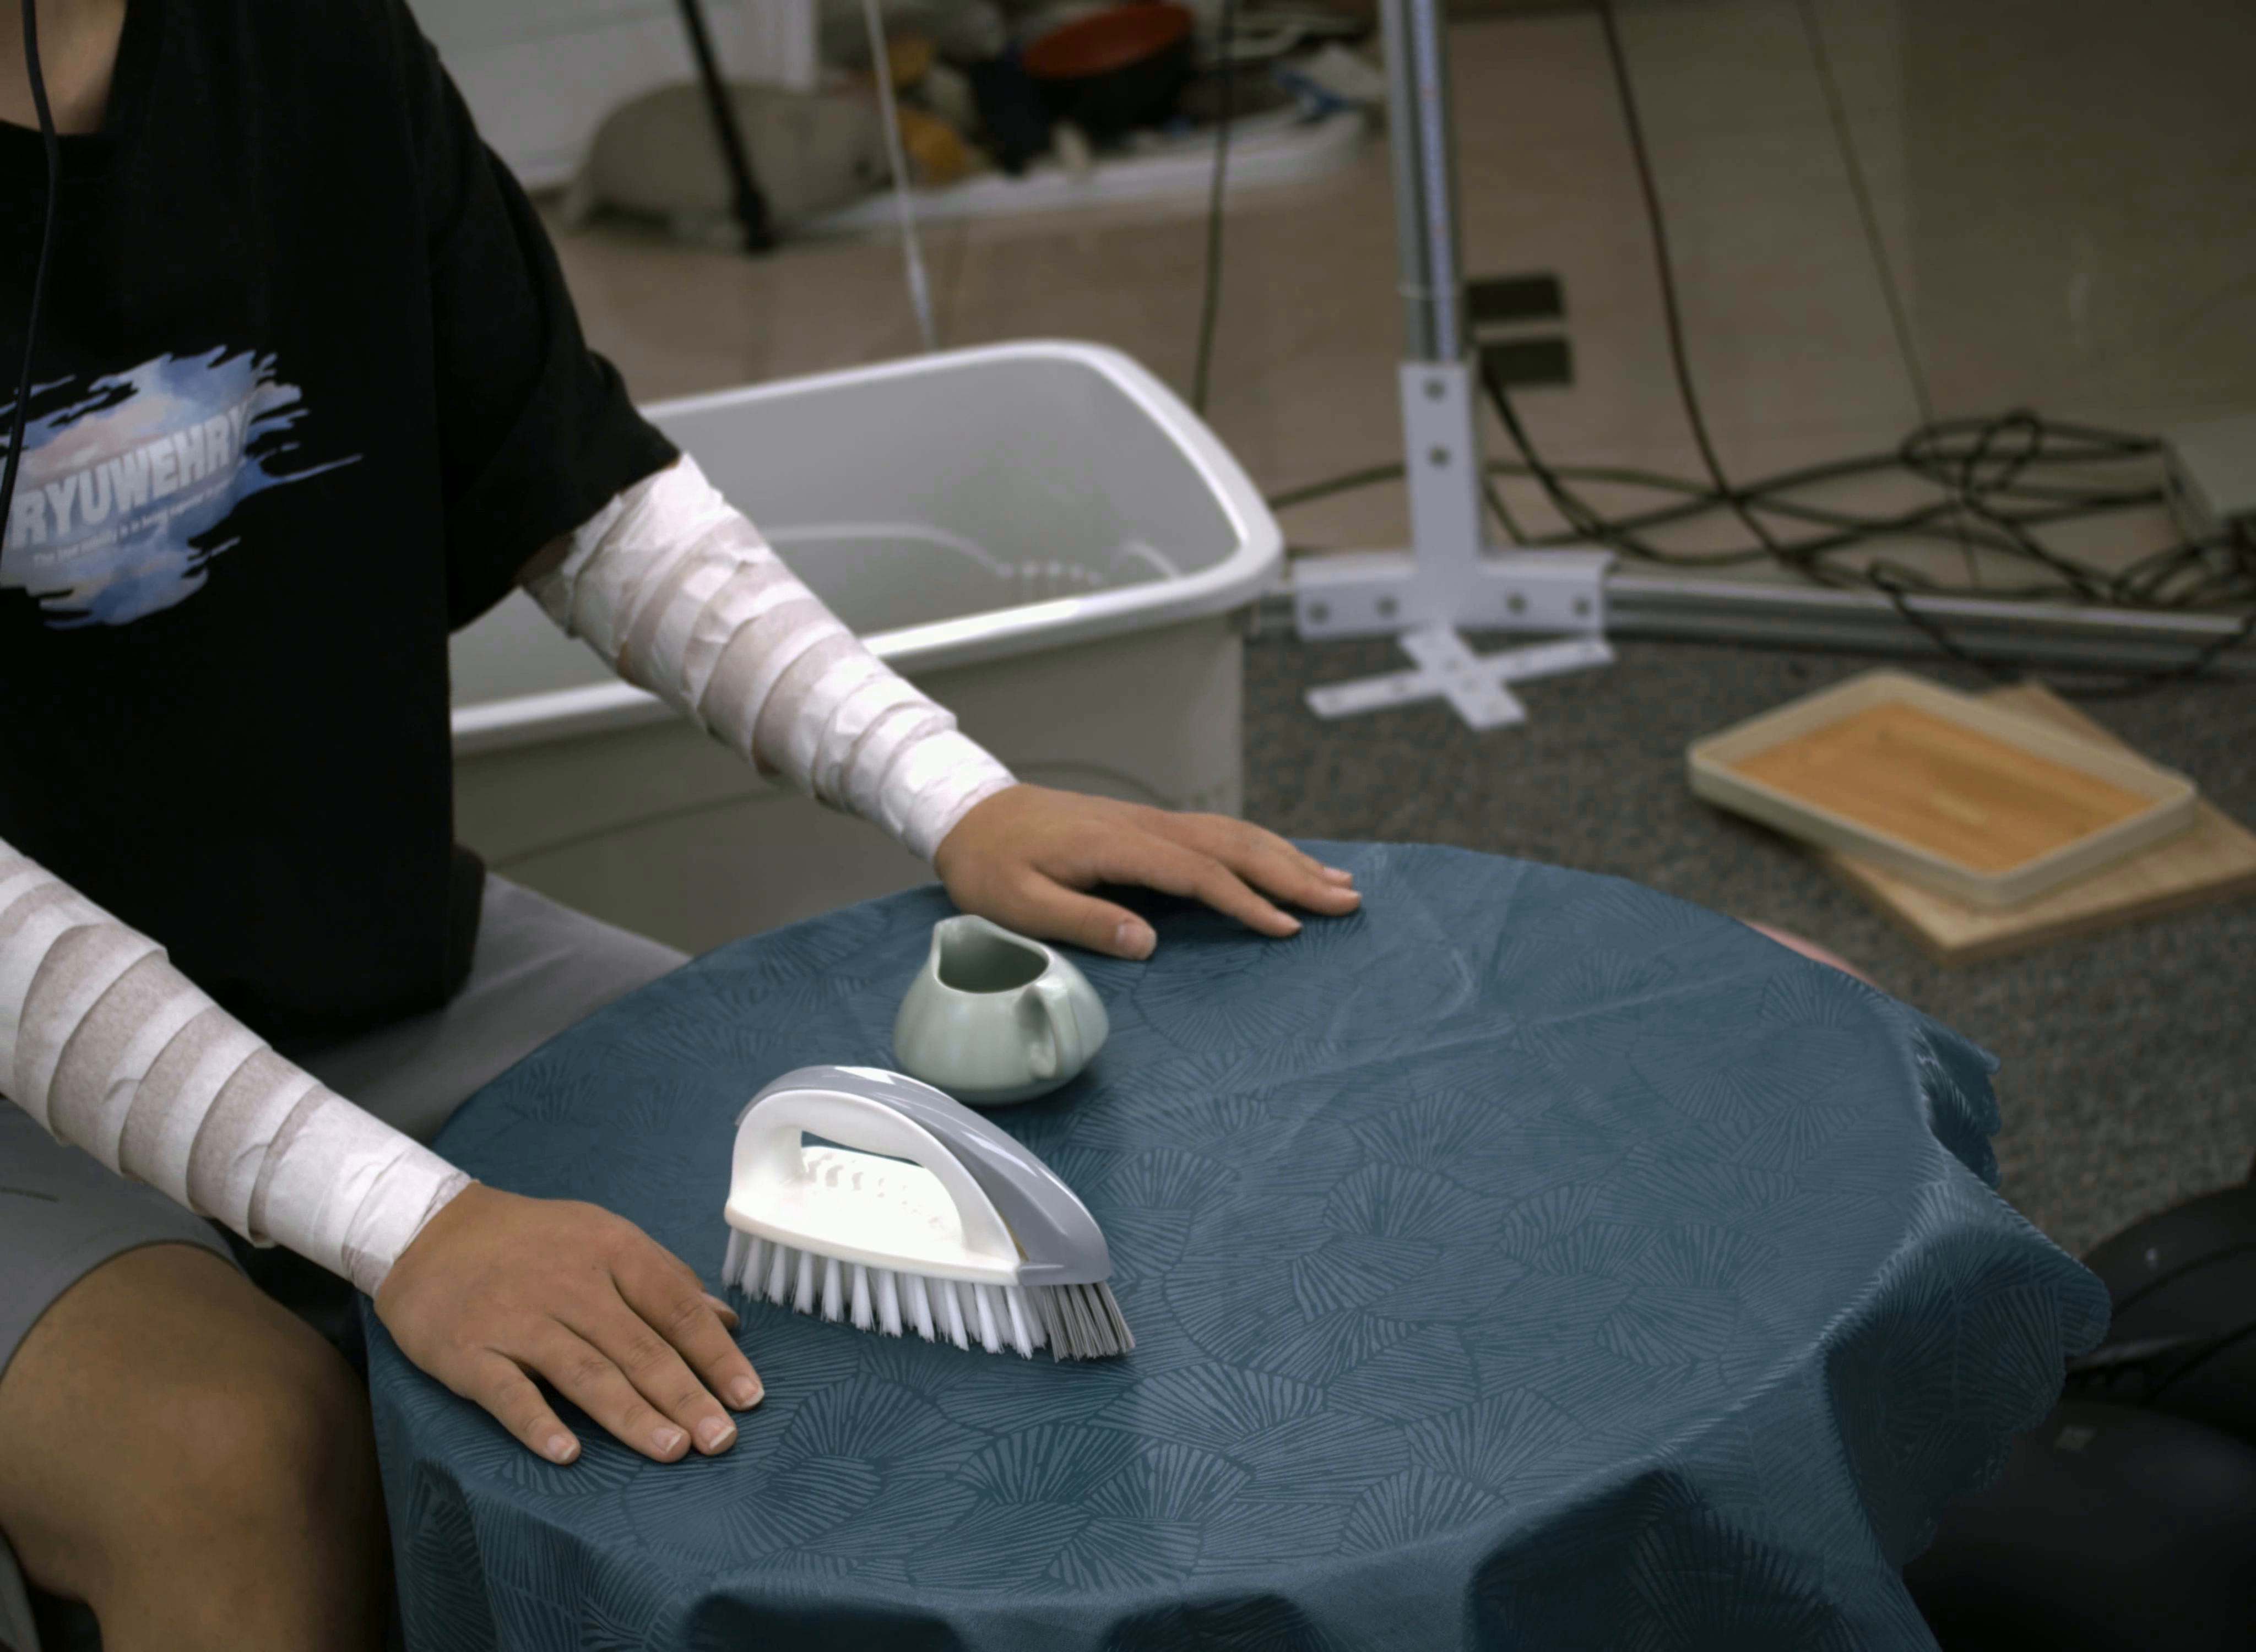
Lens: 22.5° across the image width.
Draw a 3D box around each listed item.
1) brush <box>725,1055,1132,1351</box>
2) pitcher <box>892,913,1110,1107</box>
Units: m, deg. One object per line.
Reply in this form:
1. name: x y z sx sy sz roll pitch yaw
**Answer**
1. brush: -0.073 0.134 2.068 0.174 0.096 0.061 15 36 35
2. pitcher: -0.045 0.078 2.224 0.085 0.061 0.107 -20 30 -25
